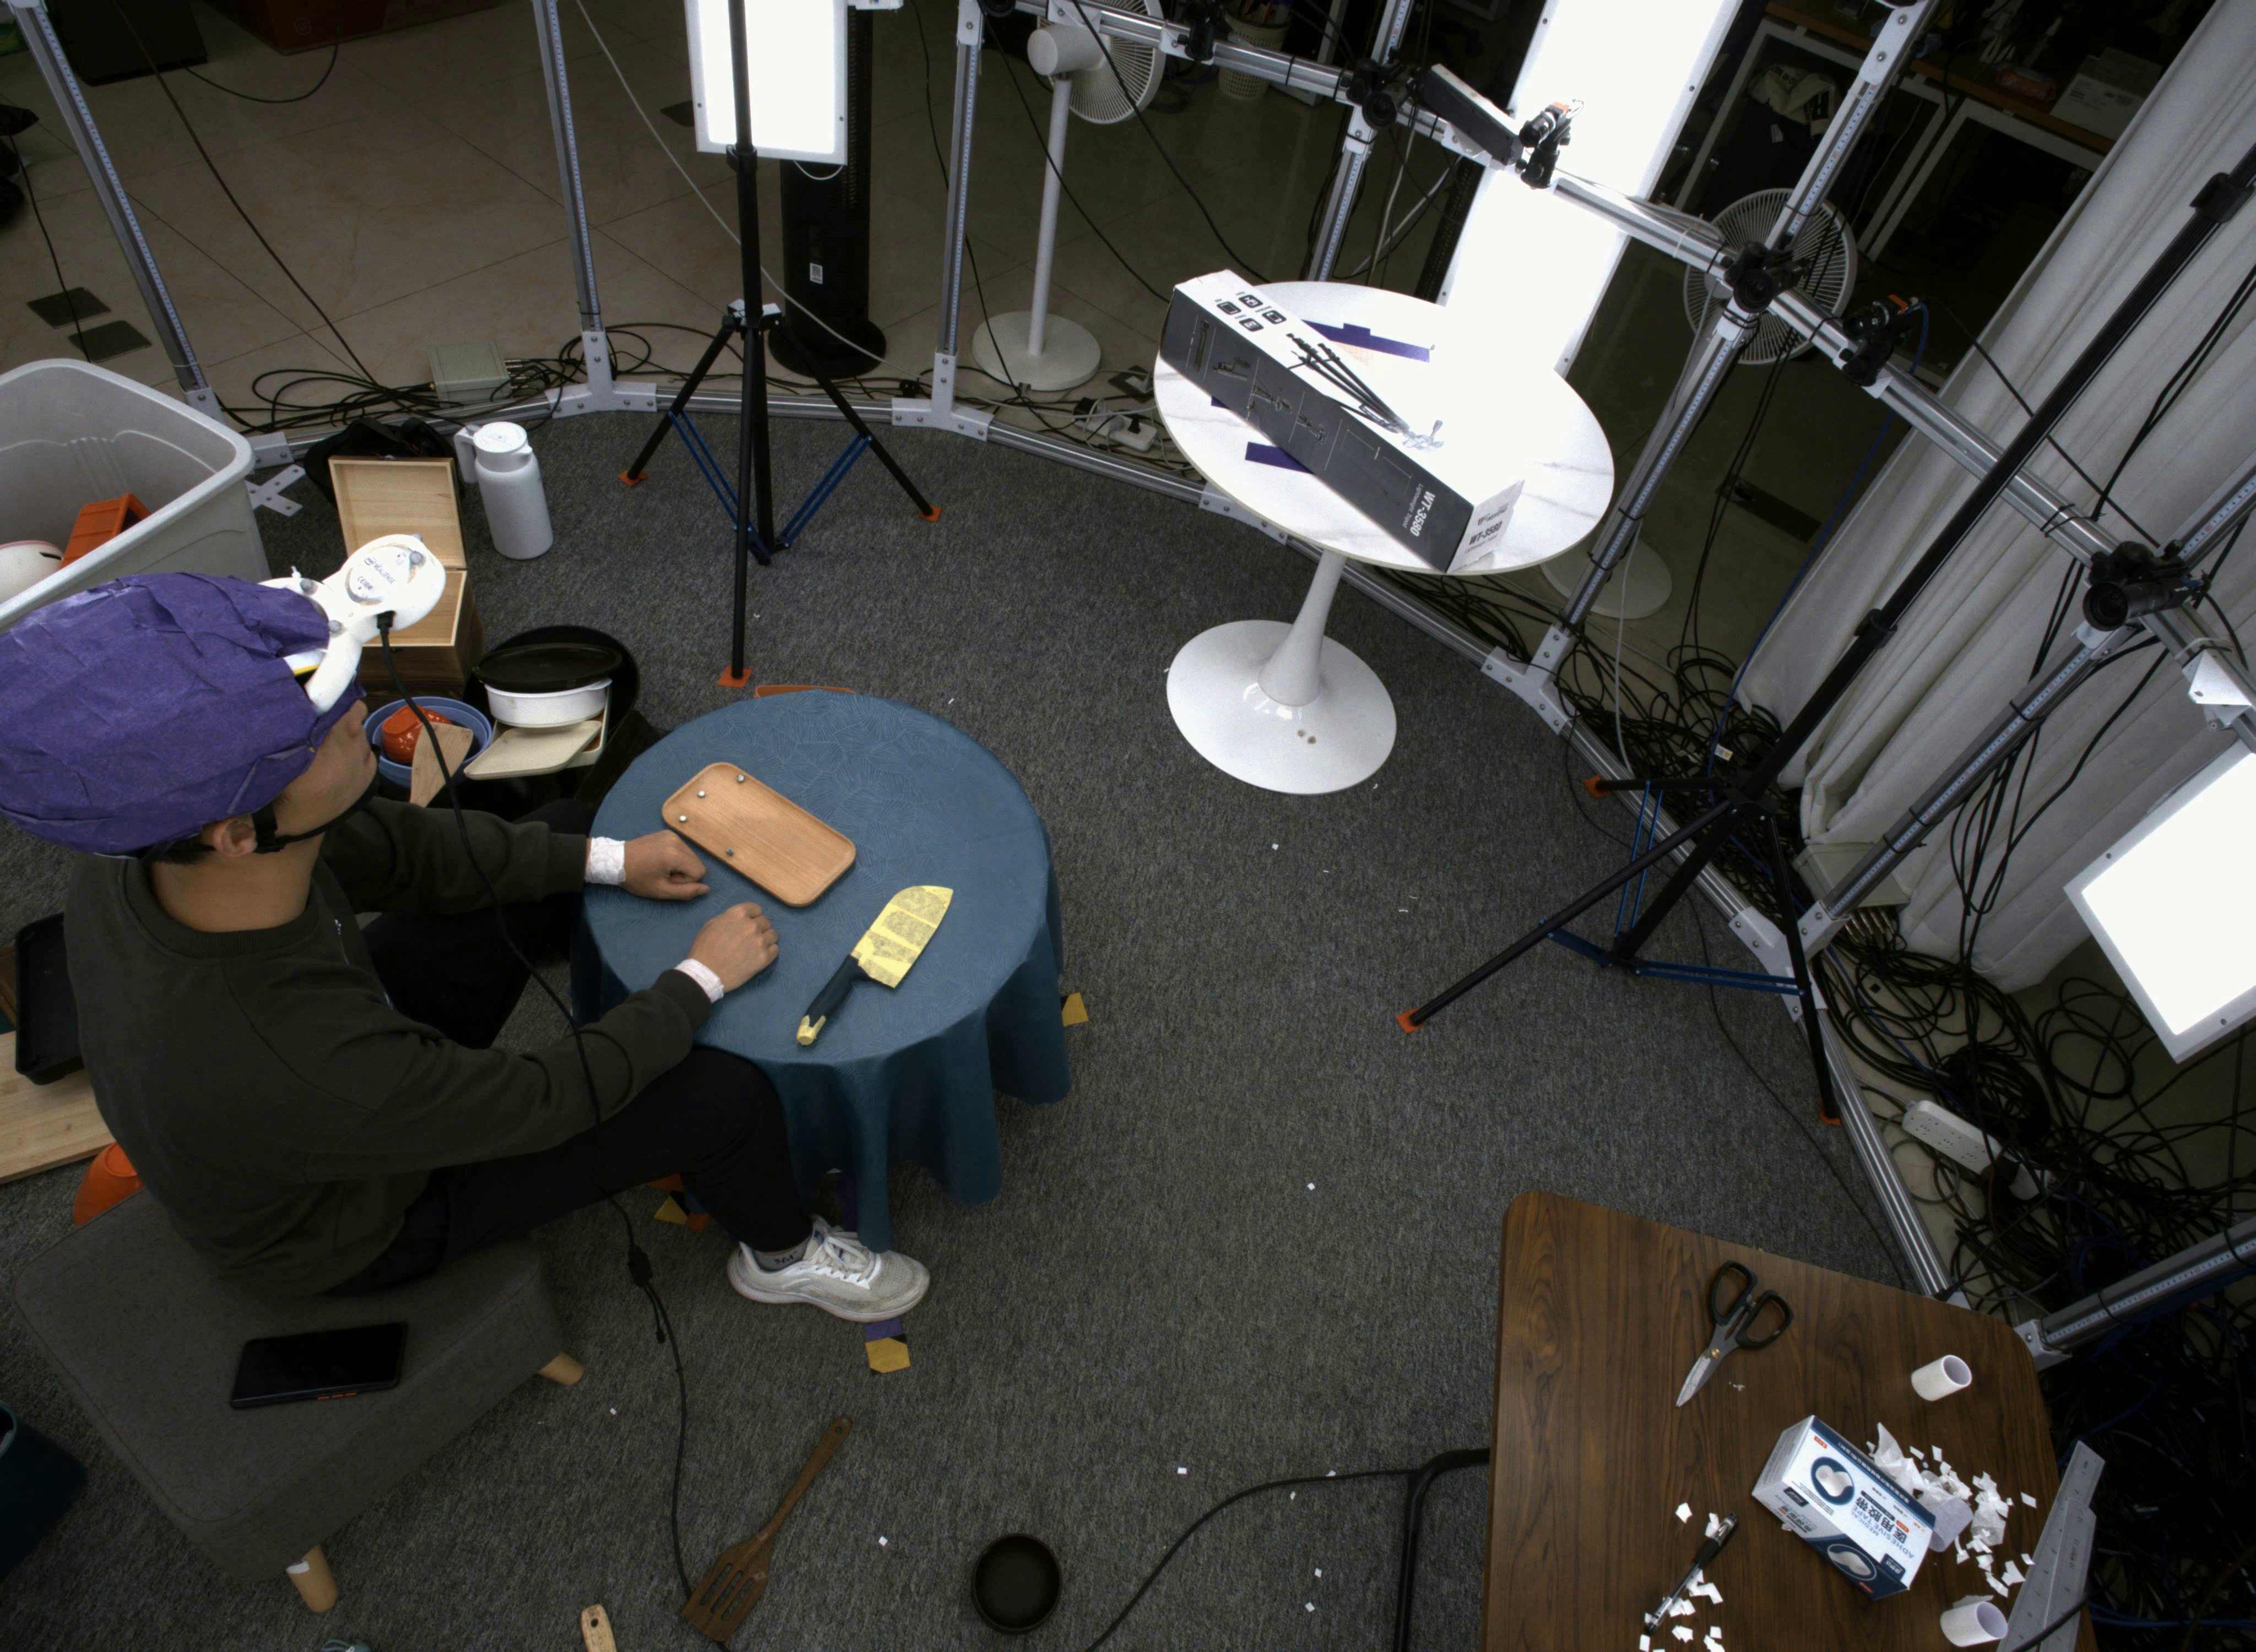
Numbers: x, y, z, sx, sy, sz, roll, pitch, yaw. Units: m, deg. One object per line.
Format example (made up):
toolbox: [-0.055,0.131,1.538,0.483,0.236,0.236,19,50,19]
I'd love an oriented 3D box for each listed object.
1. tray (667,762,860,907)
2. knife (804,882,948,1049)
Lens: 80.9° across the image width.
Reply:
tray: [-0.480,0.009,1.704,0.246,0.023,0.130,32,56,9]
knife: [-0.311,0.168,1.630,0.079,0.028,0.288,27,51,9]
